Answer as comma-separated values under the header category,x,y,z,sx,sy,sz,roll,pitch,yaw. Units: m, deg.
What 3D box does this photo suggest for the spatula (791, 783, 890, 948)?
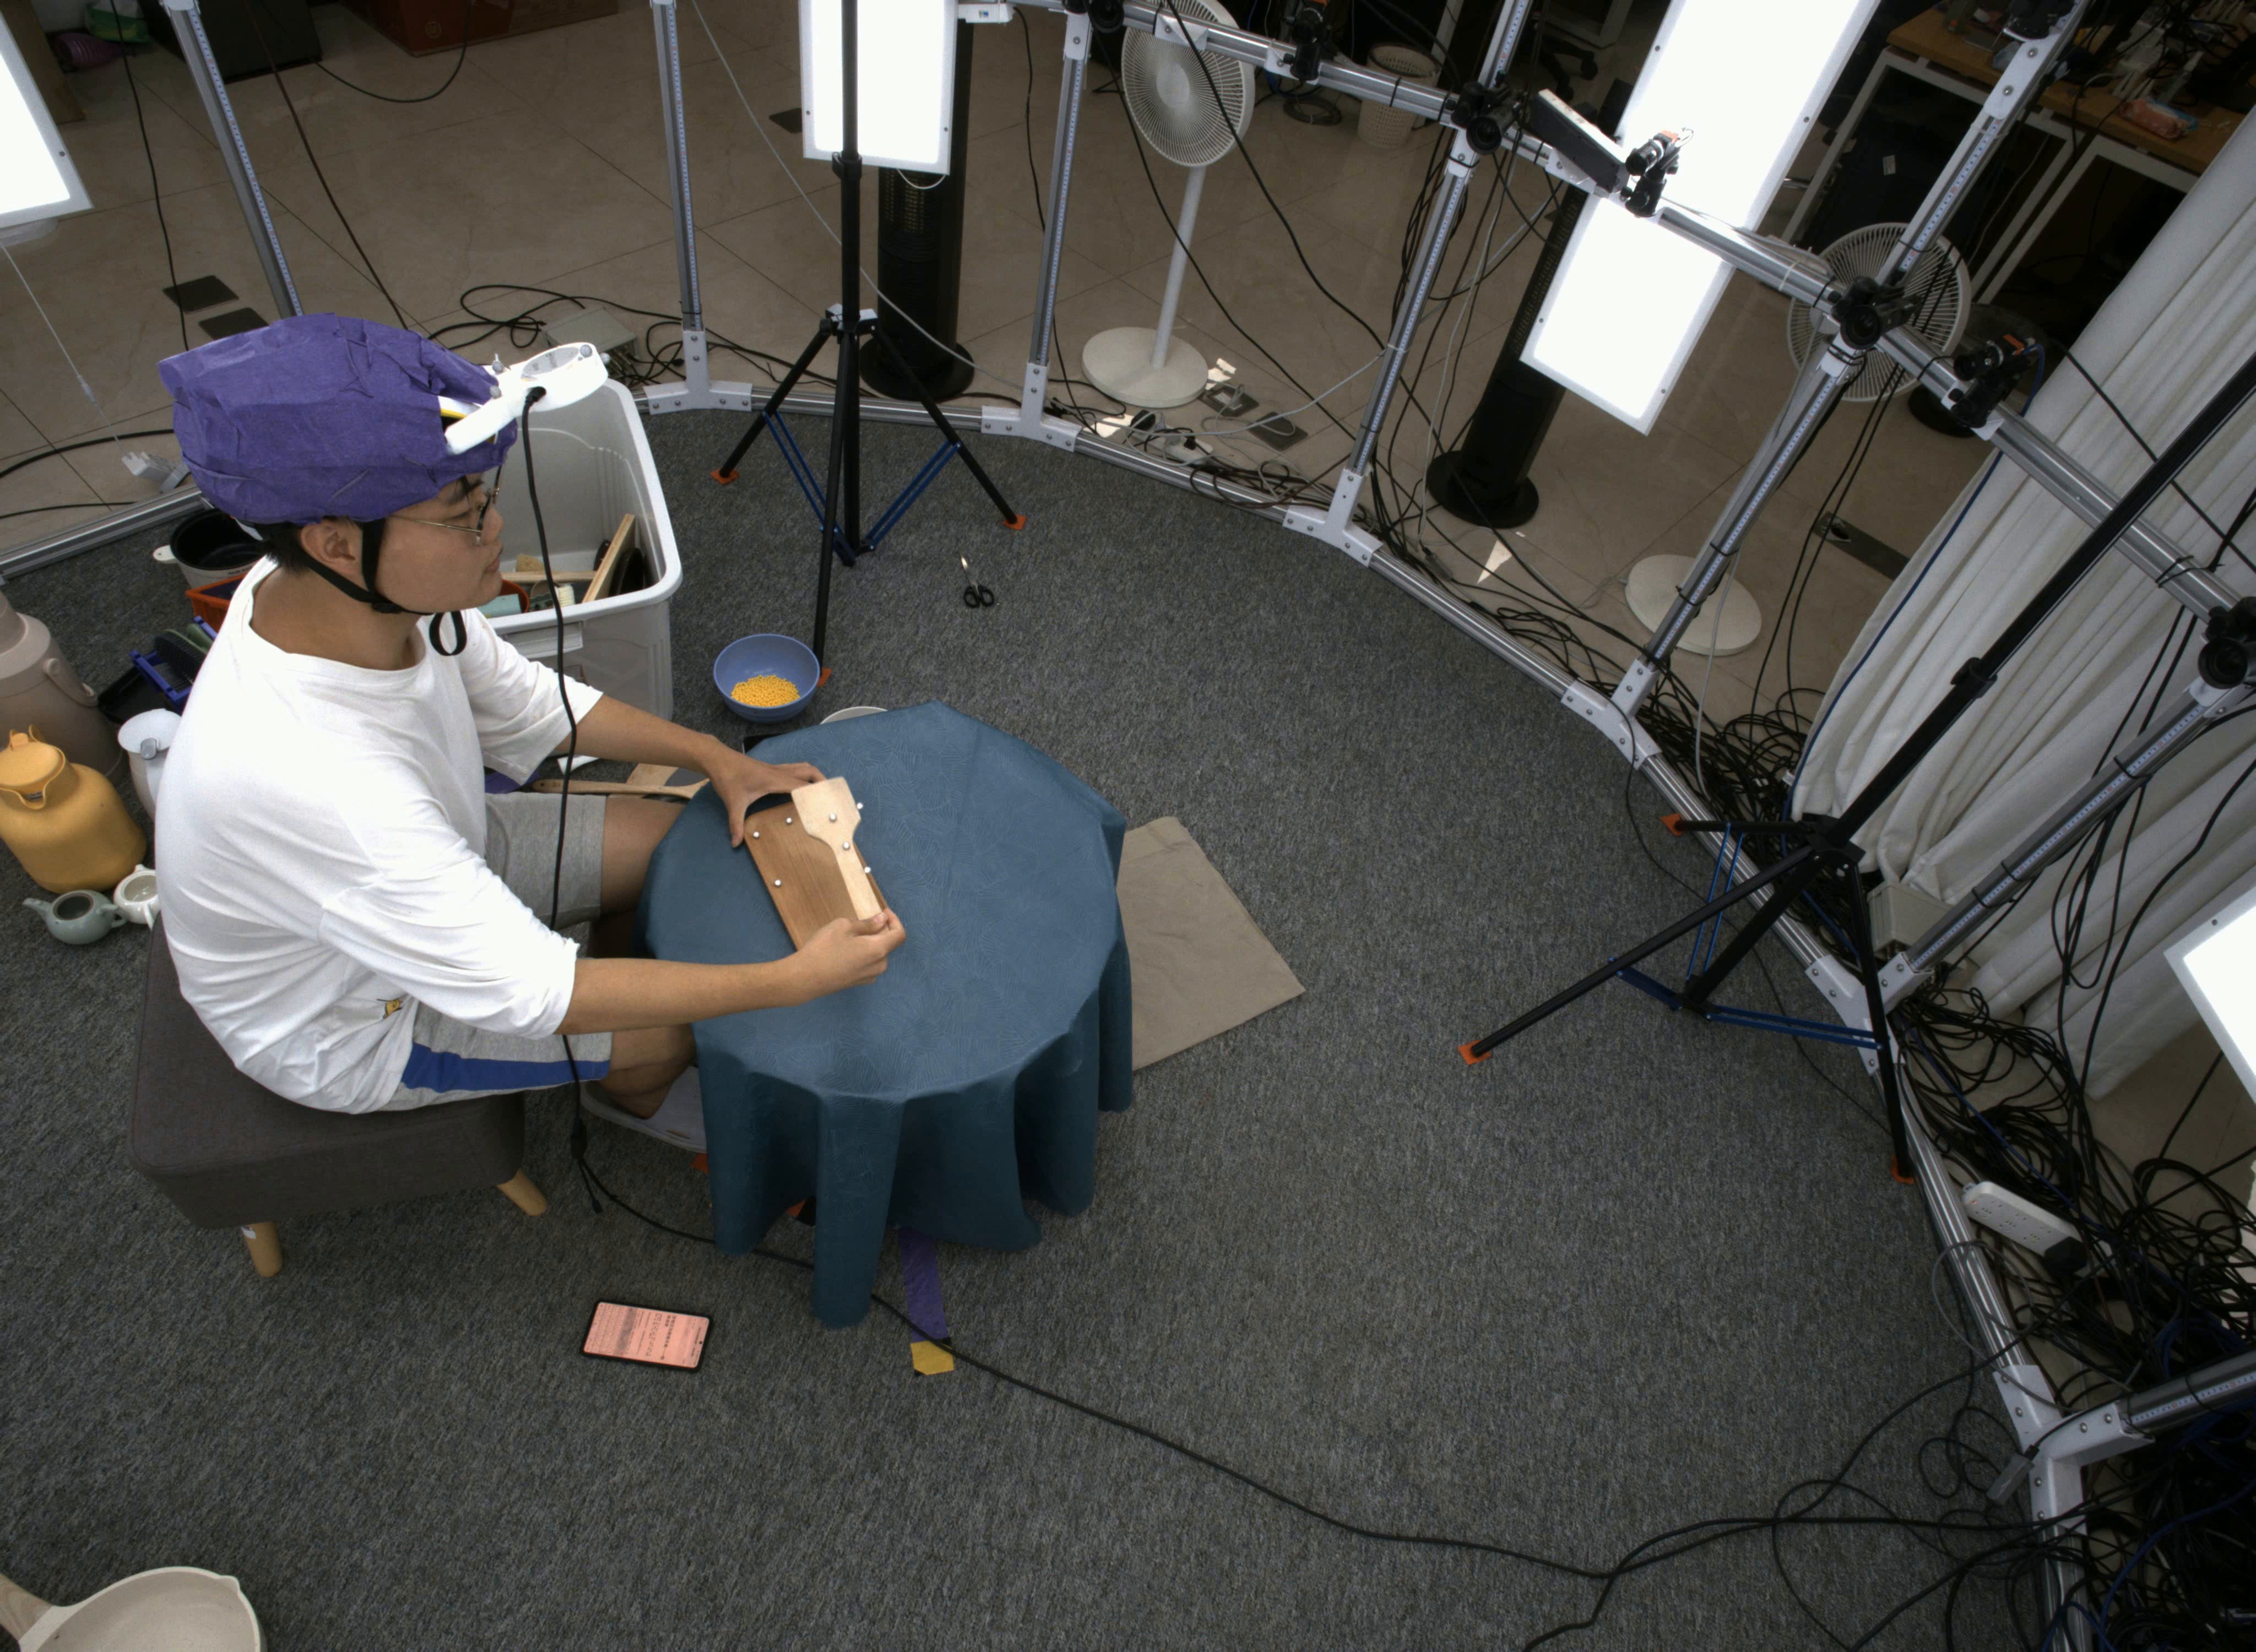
category,x,y,z,sx,sy,sz,roll,pitch,yaw
spatula,-0.334,0.043,1.543,0.072,0.011,0.283,-16,46,-19

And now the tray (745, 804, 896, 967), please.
category,x,y,z,sx,sy,sz,roll,pitch,yaw
tray,-0.400,0.069,1.681,0.131,0.023,0.244,-20,62,-22
